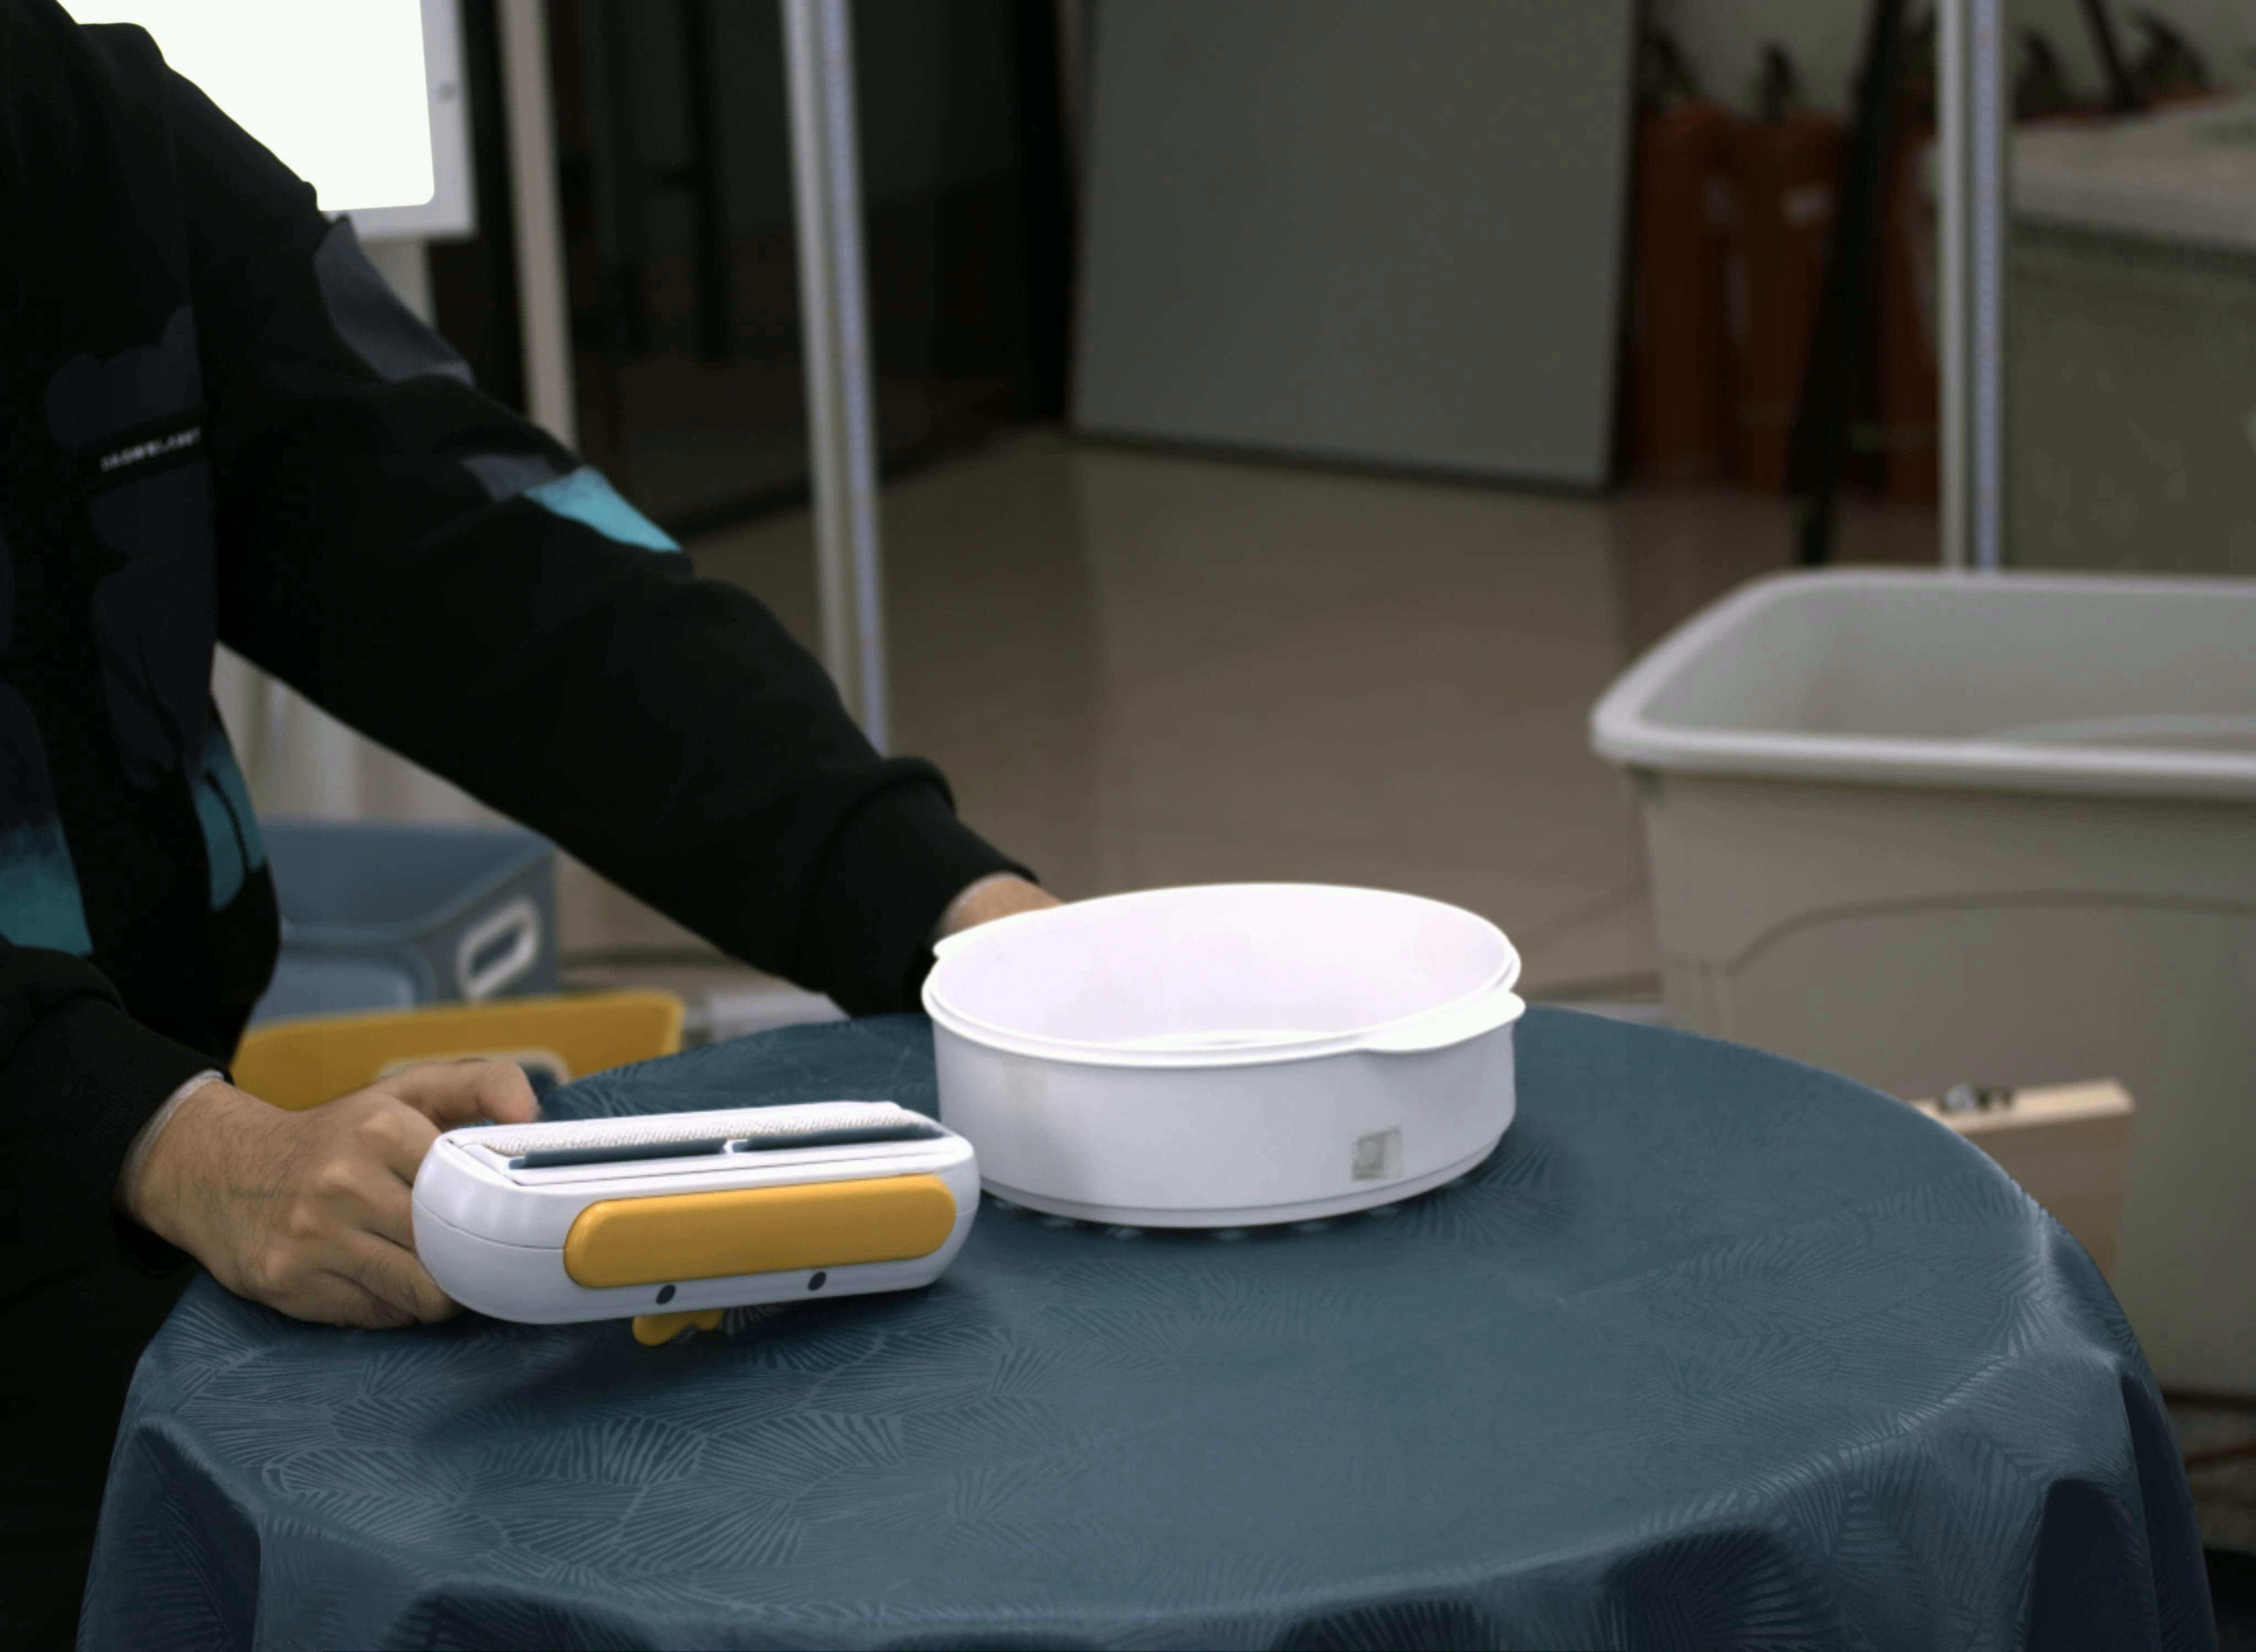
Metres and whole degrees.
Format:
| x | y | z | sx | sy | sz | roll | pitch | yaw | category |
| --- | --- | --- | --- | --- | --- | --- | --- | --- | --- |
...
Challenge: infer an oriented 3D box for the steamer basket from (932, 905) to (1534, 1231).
| x | y | z | sx | sy | sz | roll | pitch | yaw | category |
| --- | --- | --- | --- | --- | --- | --- | --- | --- | --- |
| 0.036 | 0.080 | 1.792 | 0.232 | 0.070 | 0.198 | 6 | 16 | 44 | steamer basket |

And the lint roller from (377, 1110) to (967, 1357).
| x | y | z | sx | sy | sz | roll | pitch | yaw | category |
| --- | --- | --- | --- | --- | --- | --- | --- | --- | --- |
| -0.169 | 0.118 | 1.695 | 0.188 | 0.075 | 0.194 | -6 | 11 | -35 | lint roller |
